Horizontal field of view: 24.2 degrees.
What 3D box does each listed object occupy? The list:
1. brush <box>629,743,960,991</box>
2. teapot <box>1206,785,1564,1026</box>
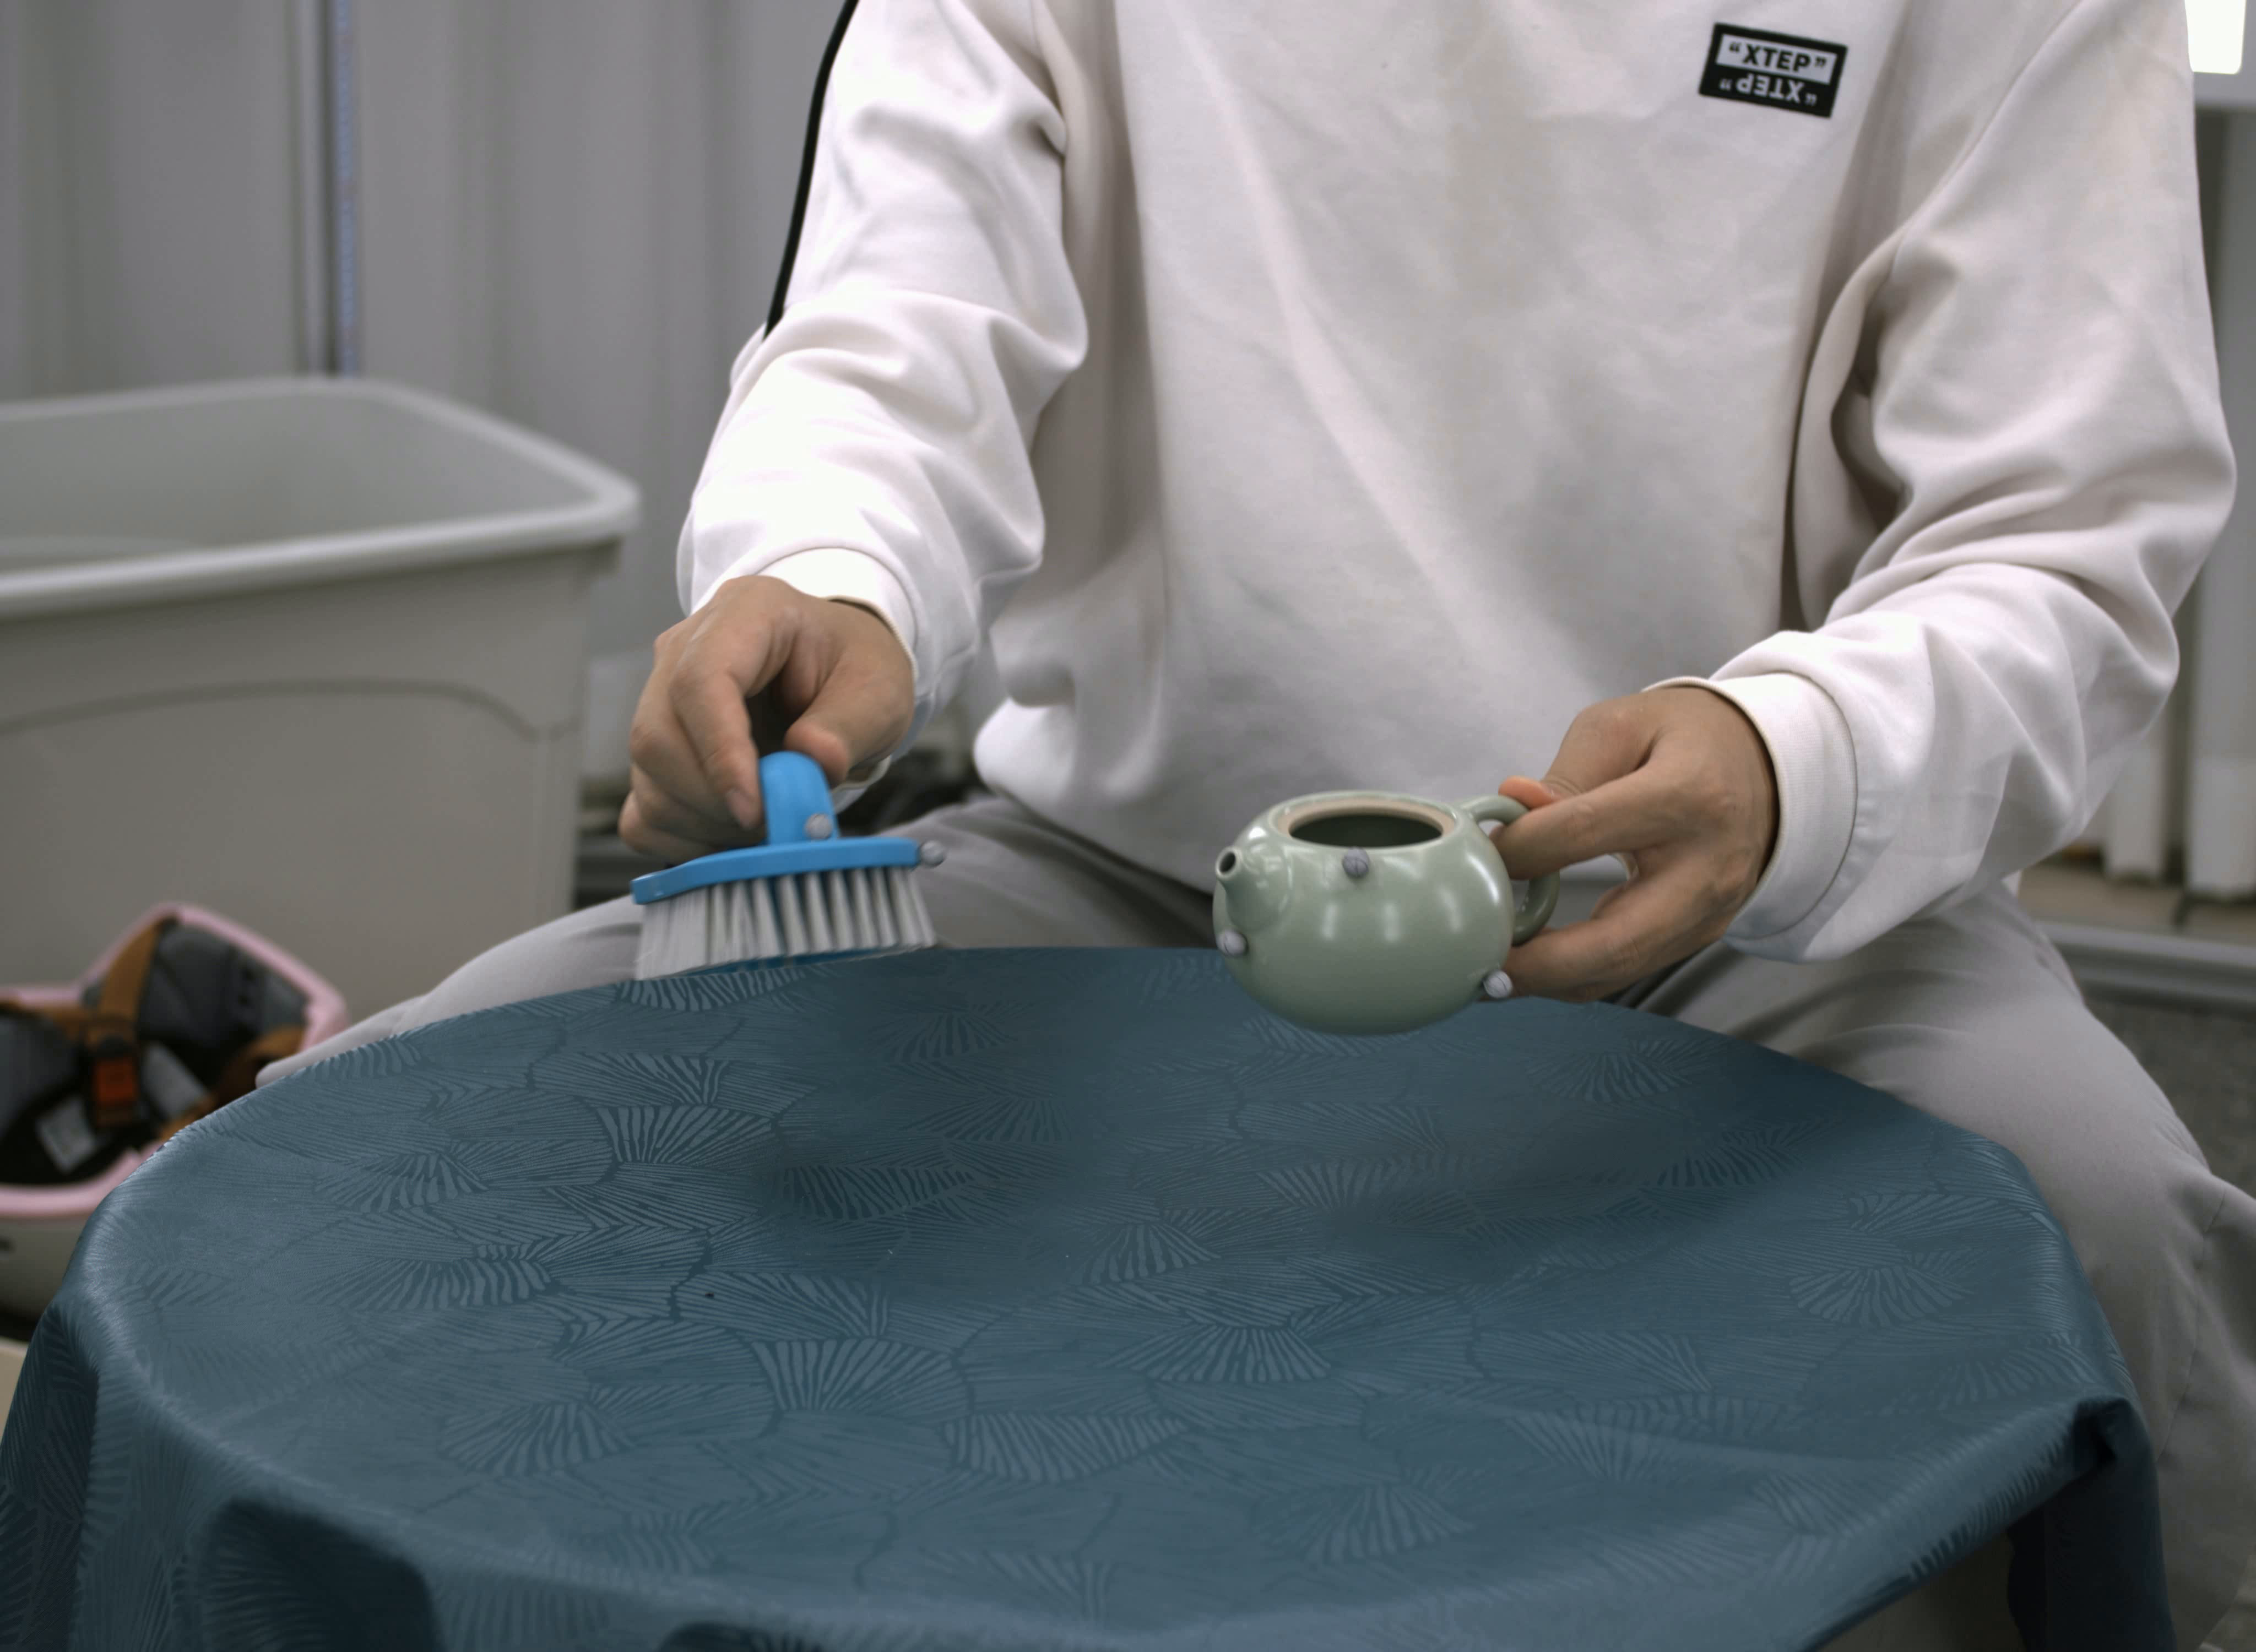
[{"bbox_3d":[-0.107,0.009,1.610,0.084,0.064,0.141,-12,-3,-19],"label":"brush"},{"bbox_3d":[0.079,0.023,1.601,0.129,0.061,0.090,-9,18,-29],"label":"teapot"}]
